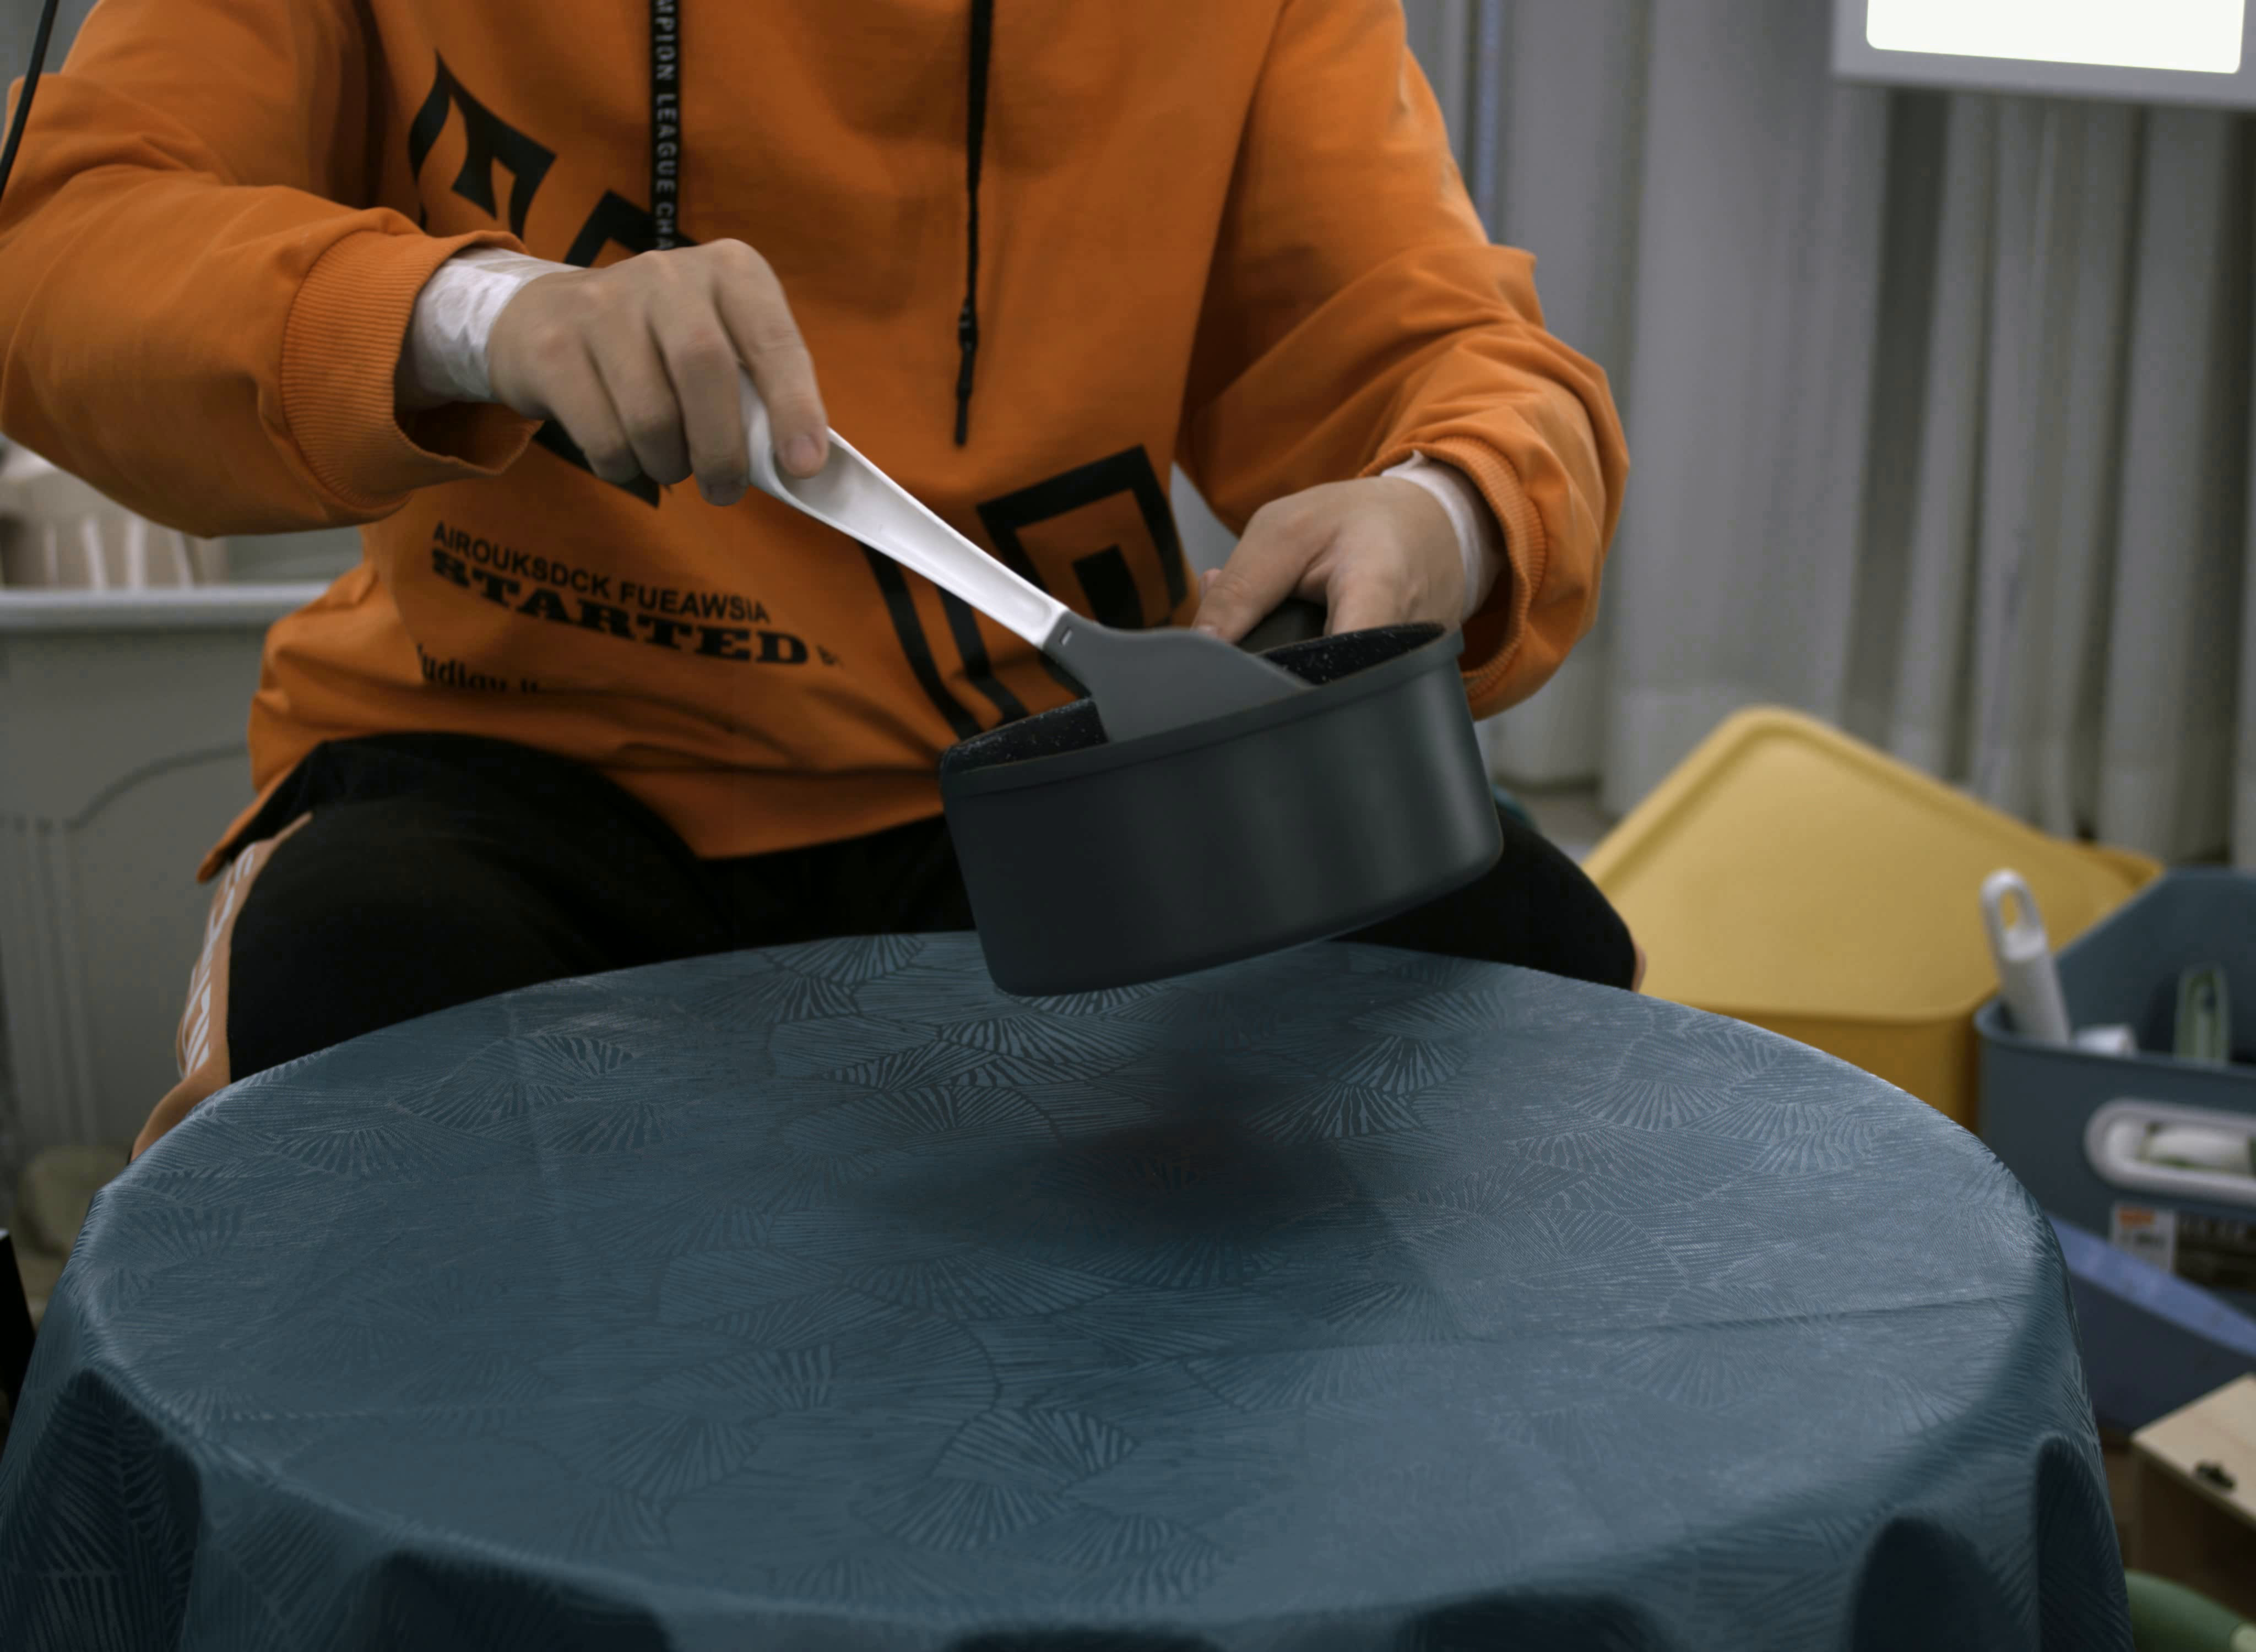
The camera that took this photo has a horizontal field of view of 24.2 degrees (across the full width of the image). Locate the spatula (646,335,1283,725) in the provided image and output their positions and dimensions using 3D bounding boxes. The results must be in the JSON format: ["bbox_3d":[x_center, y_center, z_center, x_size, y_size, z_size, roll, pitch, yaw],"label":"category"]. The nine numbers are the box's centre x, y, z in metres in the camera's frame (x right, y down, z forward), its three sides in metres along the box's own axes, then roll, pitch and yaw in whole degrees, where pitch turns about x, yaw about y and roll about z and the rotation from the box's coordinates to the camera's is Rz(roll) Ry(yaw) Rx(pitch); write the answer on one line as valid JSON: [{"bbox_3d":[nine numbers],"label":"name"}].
[{"bbox_3d":[-0.040,-0.074,1.632,0.284,0.059,0.032,34,-2,27],"label":"spatula"}]

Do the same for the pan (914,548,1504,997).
[{"bbox_3d":[0.043,-0.023,1.684,0.171,0.087,0.328,-13,8,14],"label":"pan"}]
